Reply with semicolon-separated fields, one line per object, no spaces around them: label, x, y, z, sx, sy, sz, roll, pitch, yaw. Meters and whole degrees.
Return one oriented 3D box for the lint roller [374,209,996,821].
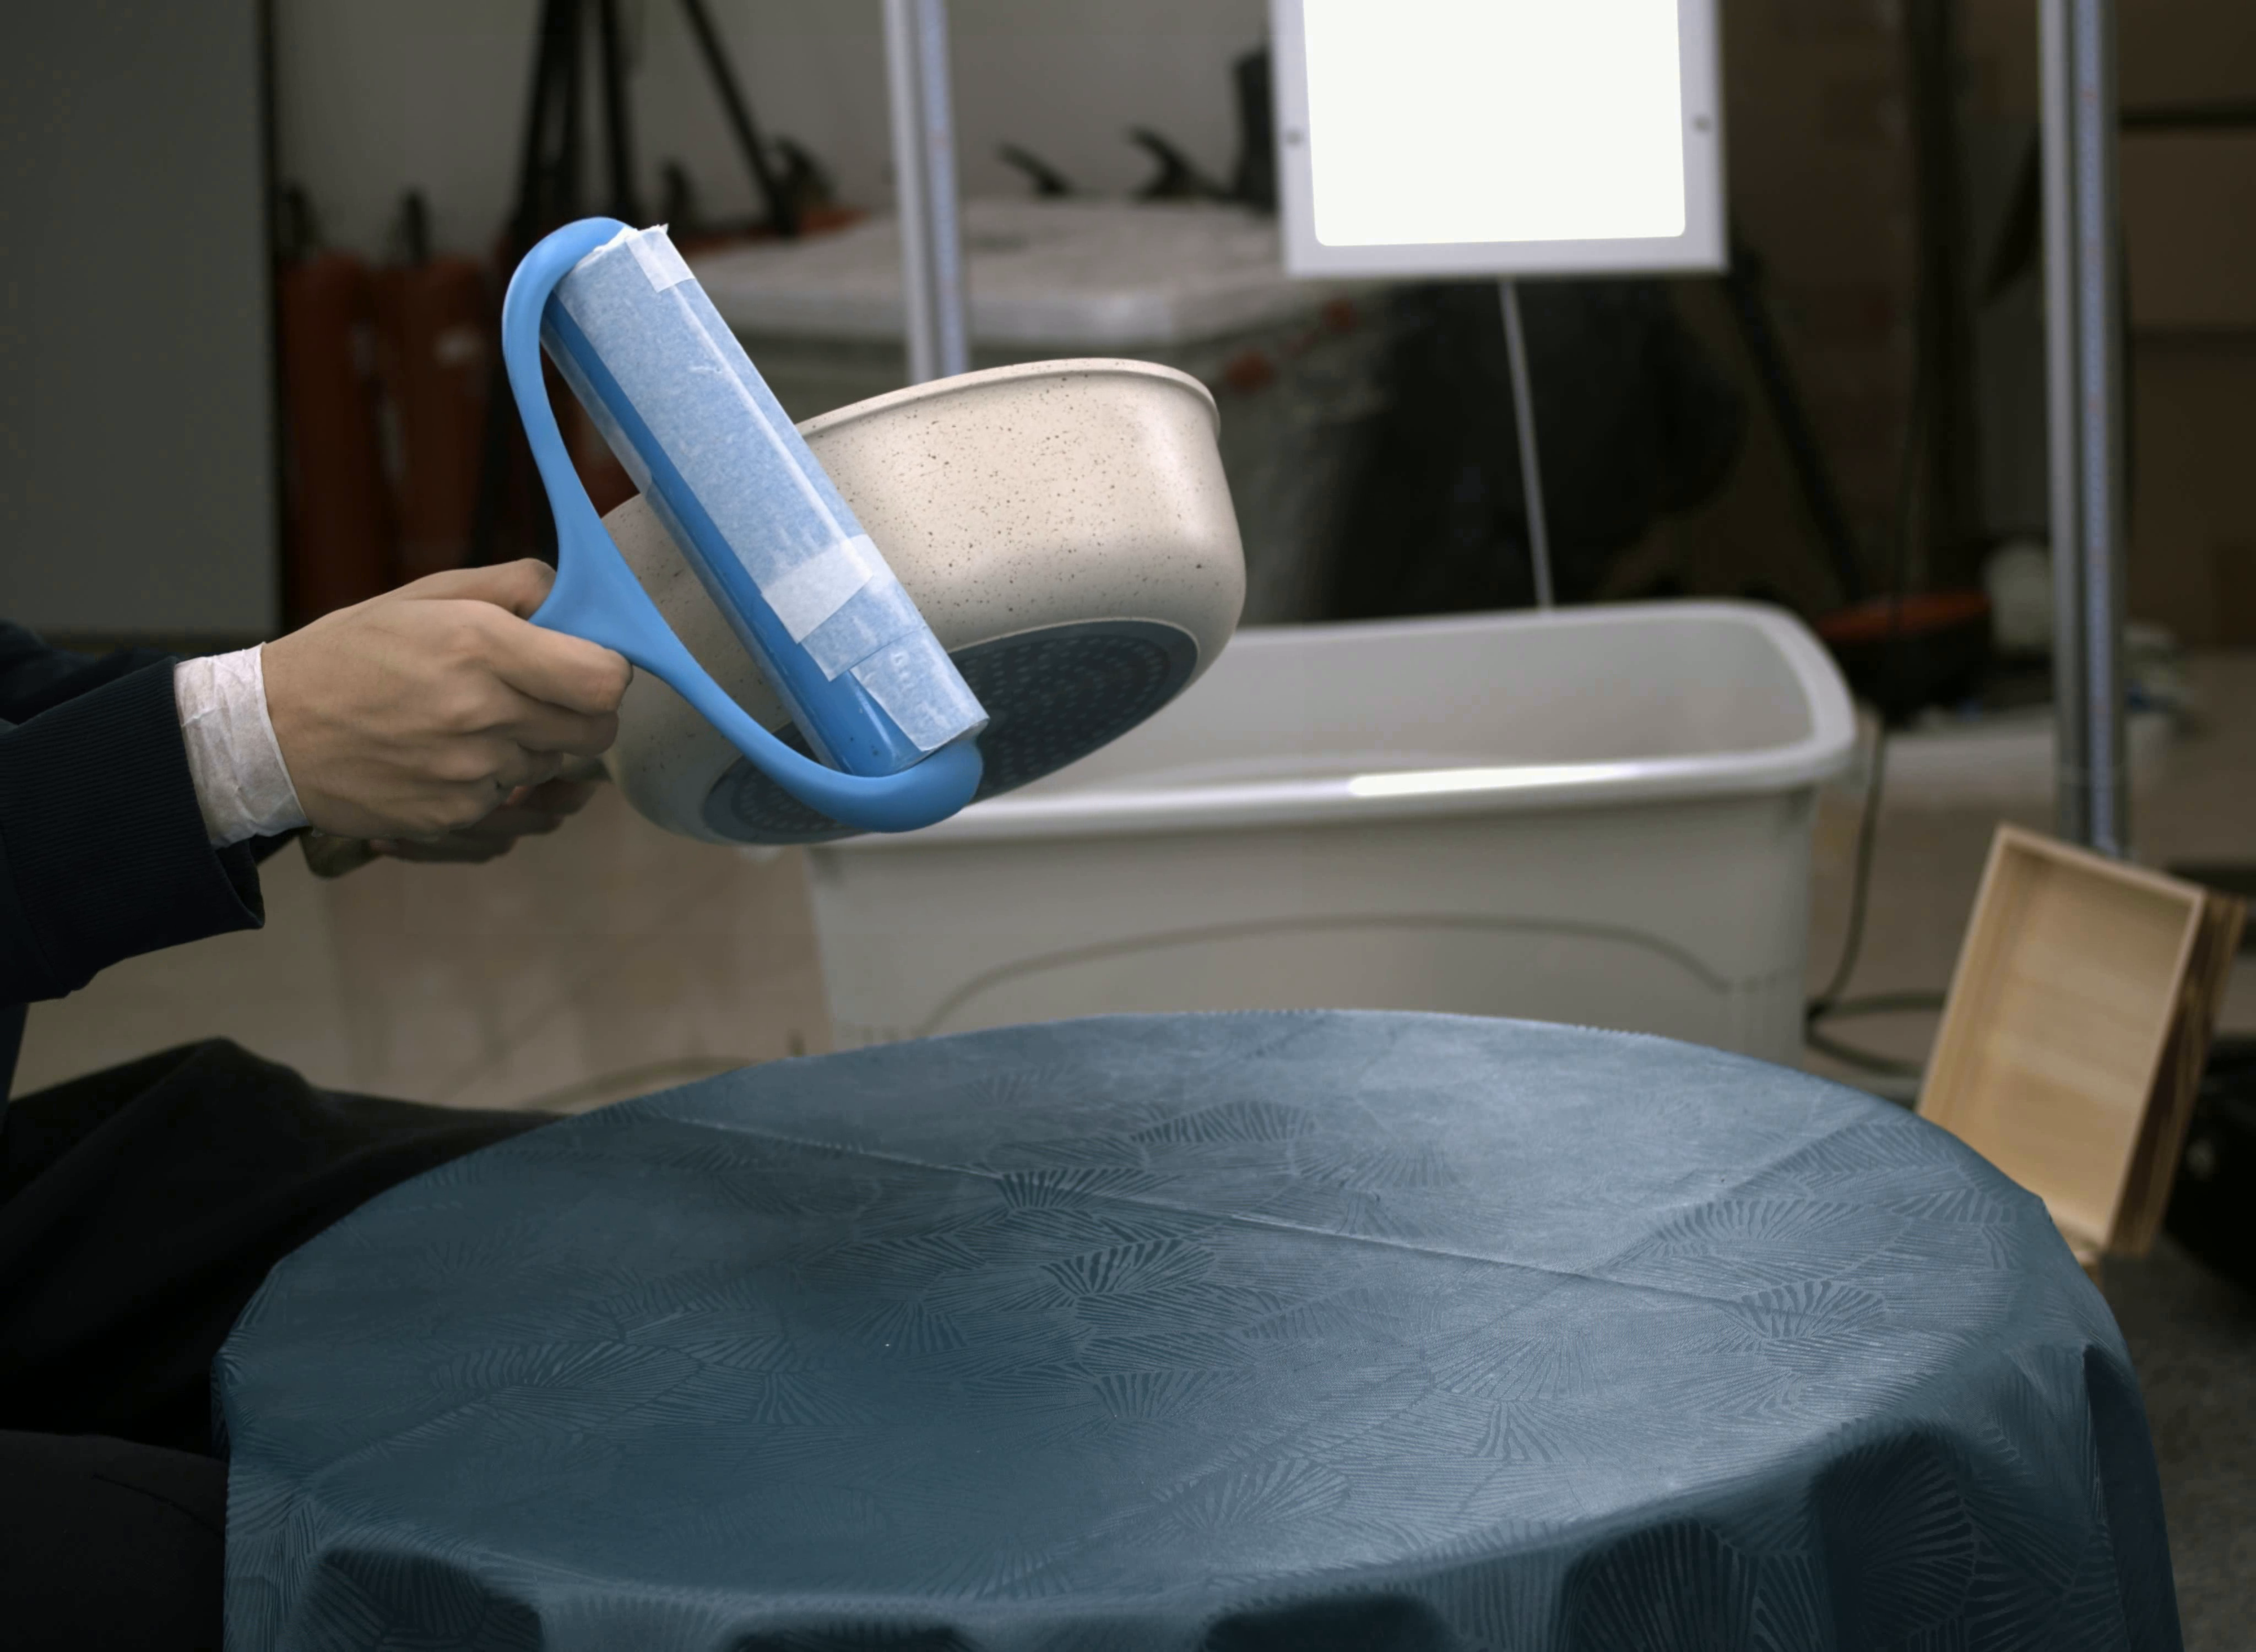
lint roller;-0.166;-0.066;1.768;0.179;0.229;0.068;-37;-4;-3

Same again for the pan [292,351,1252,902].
pan;-0.140;-0.036;1.968;0.444;0.102;0.257;-31;-19;35
